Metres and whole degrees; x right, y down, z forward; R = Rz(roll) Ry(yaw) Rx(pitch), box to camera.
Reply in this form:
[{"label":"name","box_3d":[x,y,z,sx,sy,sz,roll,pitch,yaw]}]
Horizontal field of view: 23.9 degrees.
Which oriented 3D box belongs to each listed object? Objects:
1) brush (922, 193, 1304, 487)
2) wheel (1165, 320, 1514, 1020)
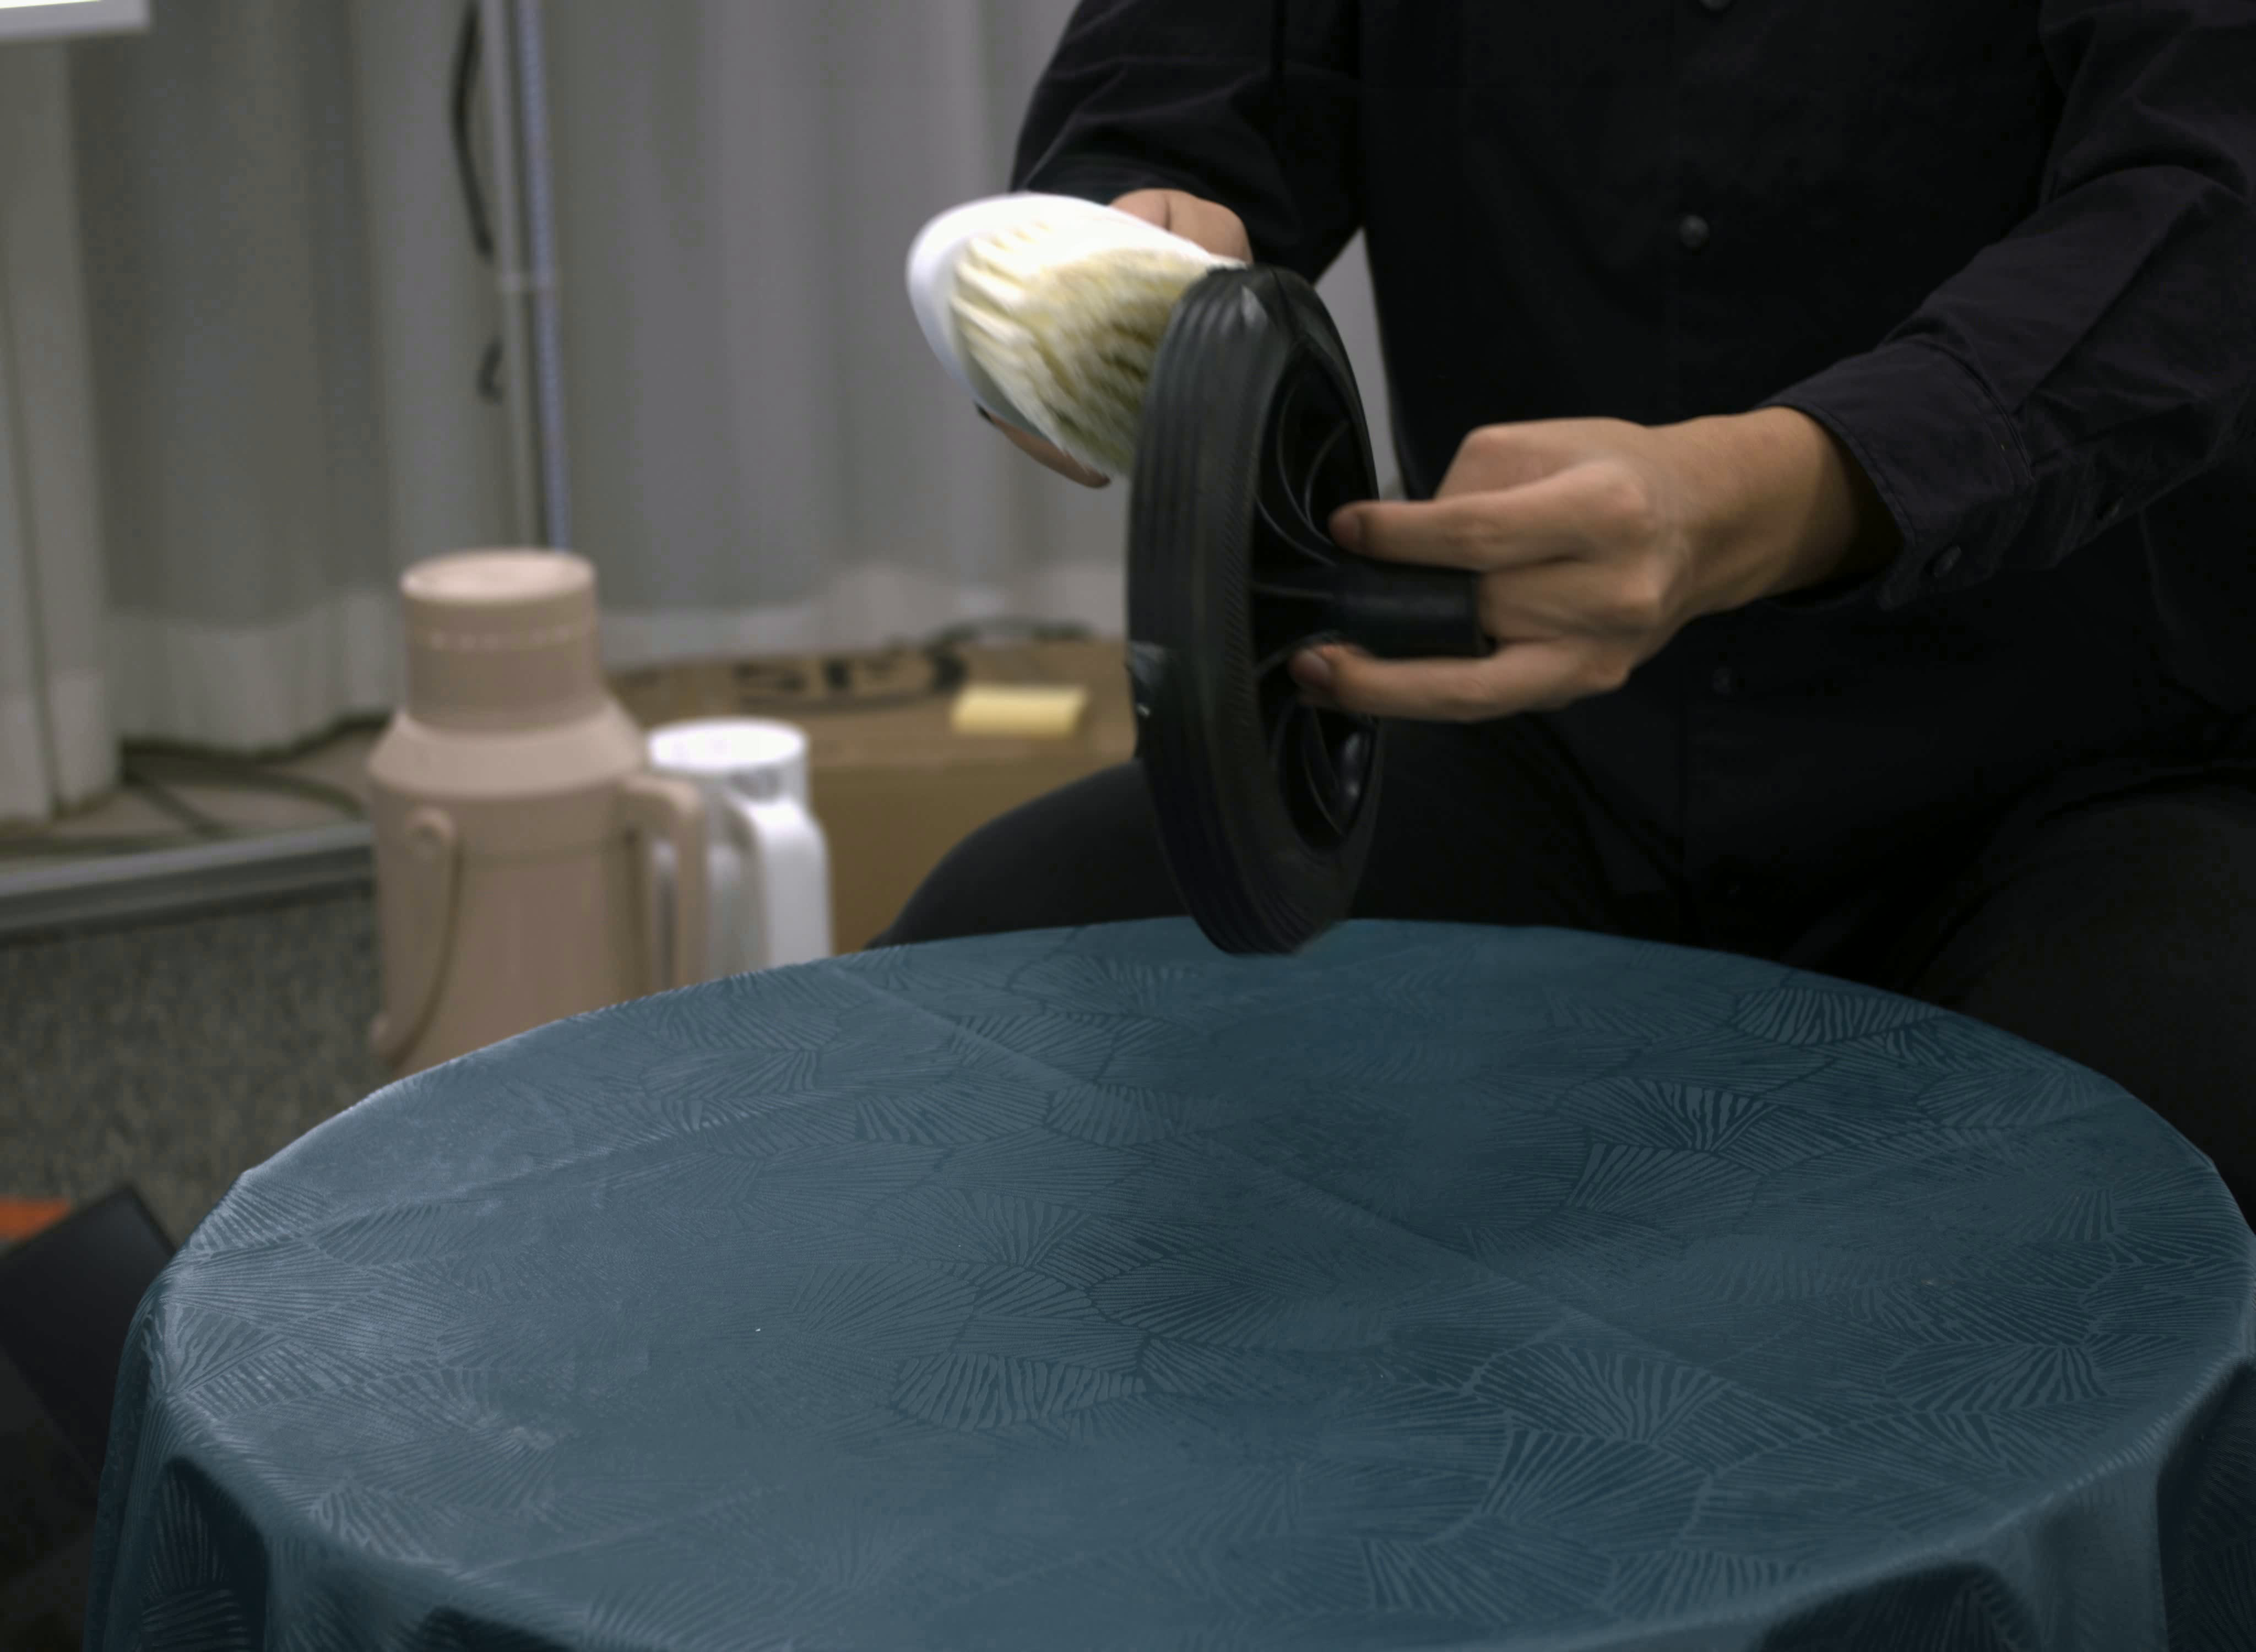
[{"label":"brush","box_3d":[0.026,-0.136,1.555,0.083,0.085,0.320,-29,-9,14]},{"label":"wheel","box_3d":[0.064,-0.043,1.444,0.080,0.185,0.190,-3,42,17]}]
